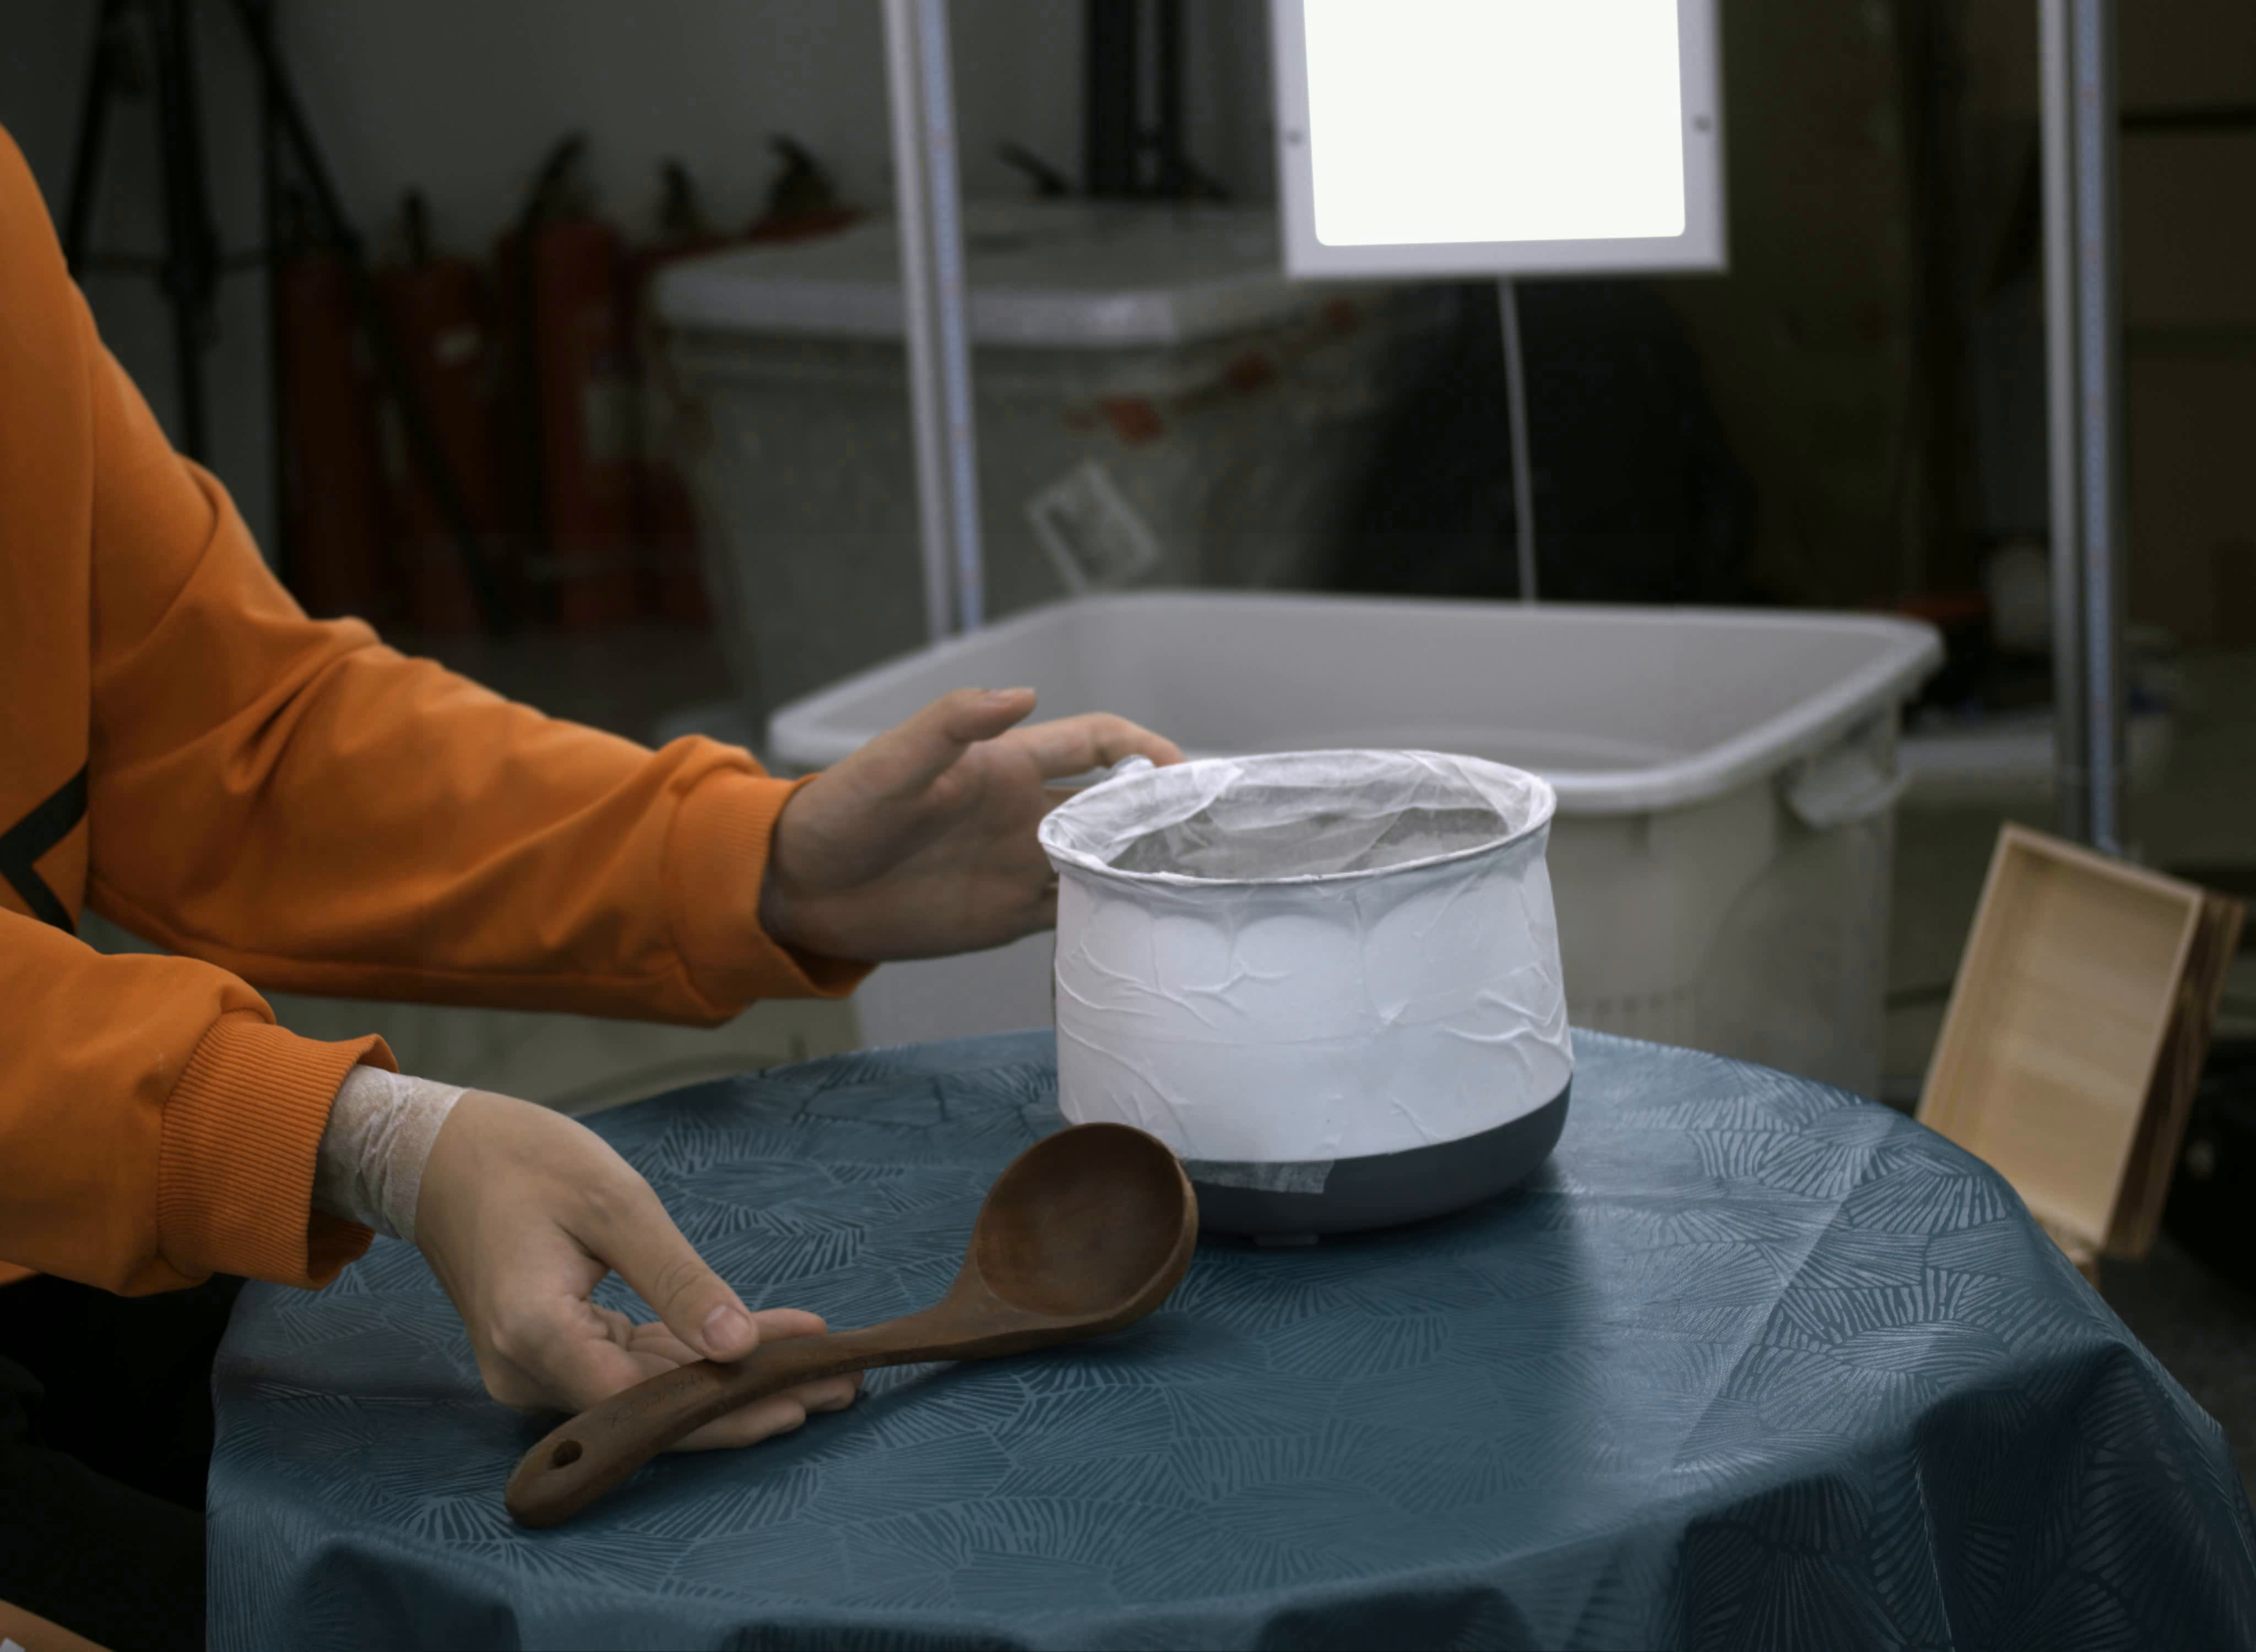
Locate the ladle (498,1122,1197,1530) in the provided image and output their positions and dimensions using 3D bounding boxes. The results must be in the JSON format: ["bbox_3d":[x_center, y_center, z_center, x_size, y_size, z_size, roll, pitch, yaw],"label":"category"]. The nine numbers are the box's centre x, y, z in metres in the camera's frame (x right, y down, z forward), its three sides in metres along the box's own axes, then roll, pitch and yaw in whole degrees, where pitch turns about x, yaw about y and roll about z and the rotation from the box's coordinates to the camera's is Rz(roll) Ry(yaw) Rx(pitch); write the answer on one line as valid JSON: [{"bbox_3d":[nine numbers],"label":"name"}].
[{"bbox_3d":[-0.085,0.151,1.696,0.253,0.065,0.078,-15,30,-38],"label":"ladle"}]

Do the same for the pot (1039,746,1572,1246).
[{"bbox_3d":[0.046,0.052,1.896,0.174,0.137,0.238,-13,16,-32],"label":"pot"}]
